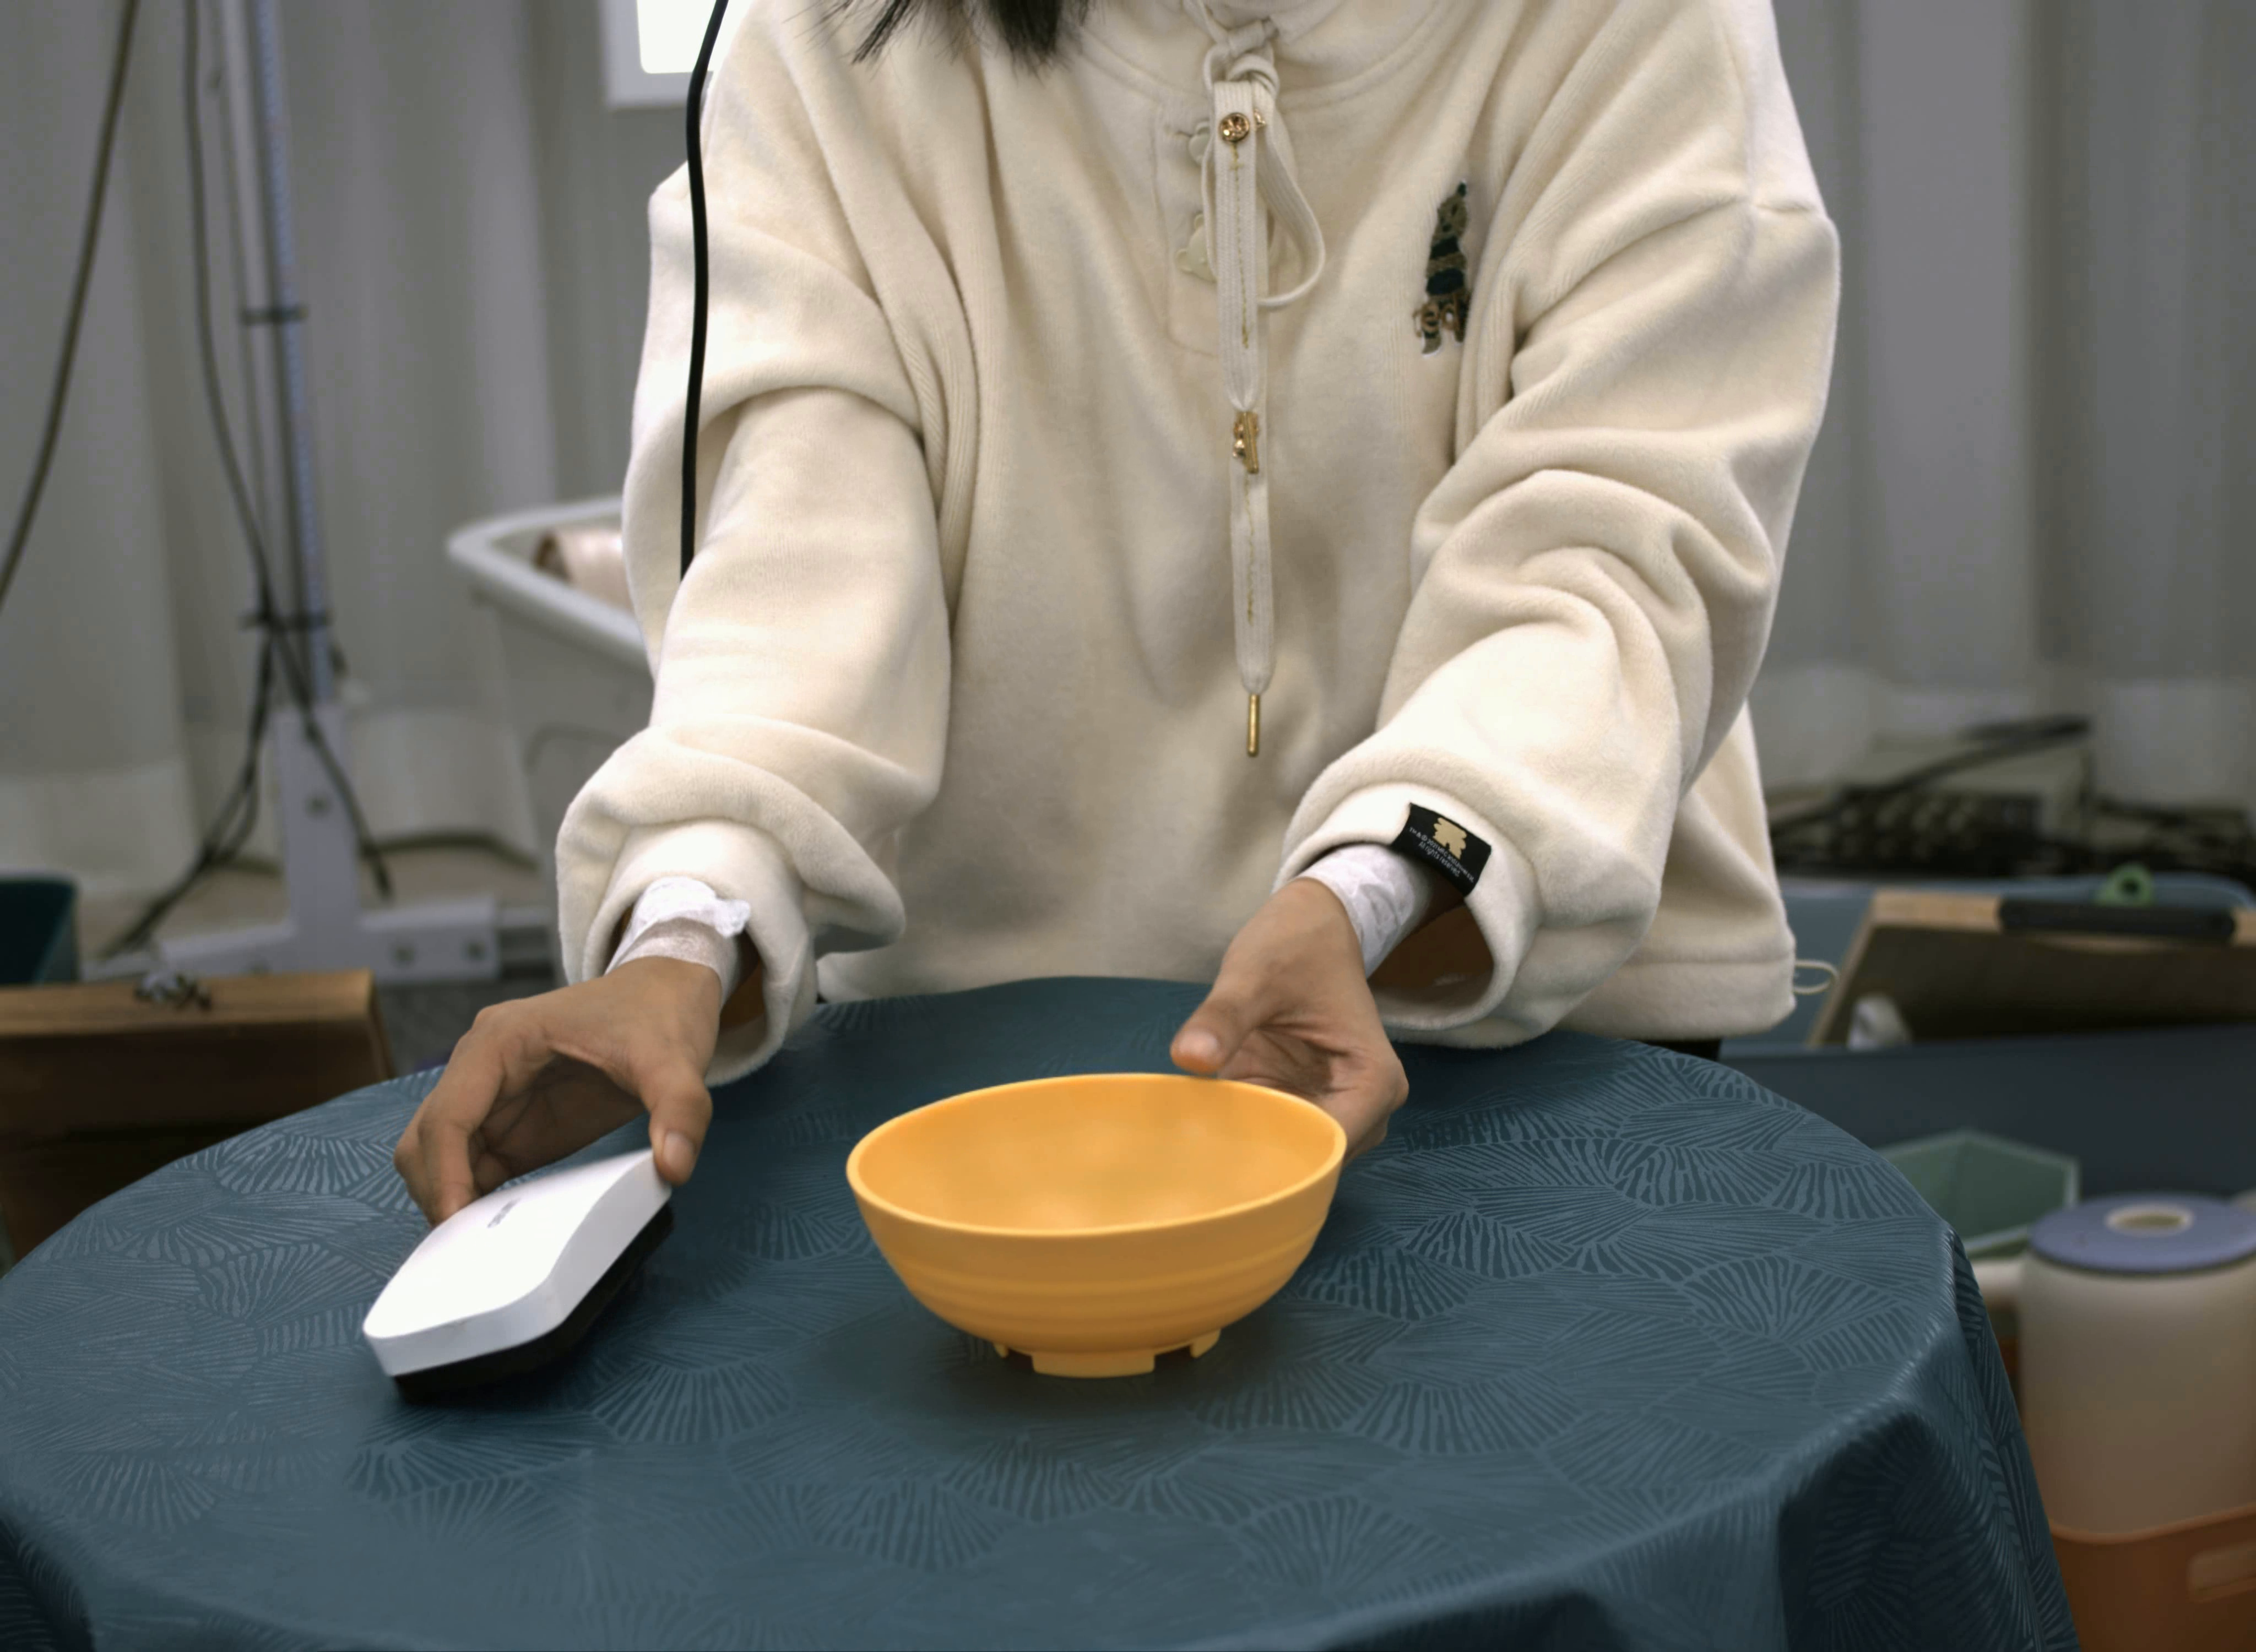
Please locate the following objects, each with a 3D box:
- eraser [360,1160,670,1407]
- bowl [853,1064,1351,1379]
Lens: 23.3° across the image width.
[{"bbox_3d":[-0.177,0.130,1.606,0.063,0.034,0.132,-12,13,16],"label":"eraser"},{"bbox_3d":[-0.005,0.120,1.581,0.145,0.060,0.146,-4,16,1],"label":"bowl"}]
